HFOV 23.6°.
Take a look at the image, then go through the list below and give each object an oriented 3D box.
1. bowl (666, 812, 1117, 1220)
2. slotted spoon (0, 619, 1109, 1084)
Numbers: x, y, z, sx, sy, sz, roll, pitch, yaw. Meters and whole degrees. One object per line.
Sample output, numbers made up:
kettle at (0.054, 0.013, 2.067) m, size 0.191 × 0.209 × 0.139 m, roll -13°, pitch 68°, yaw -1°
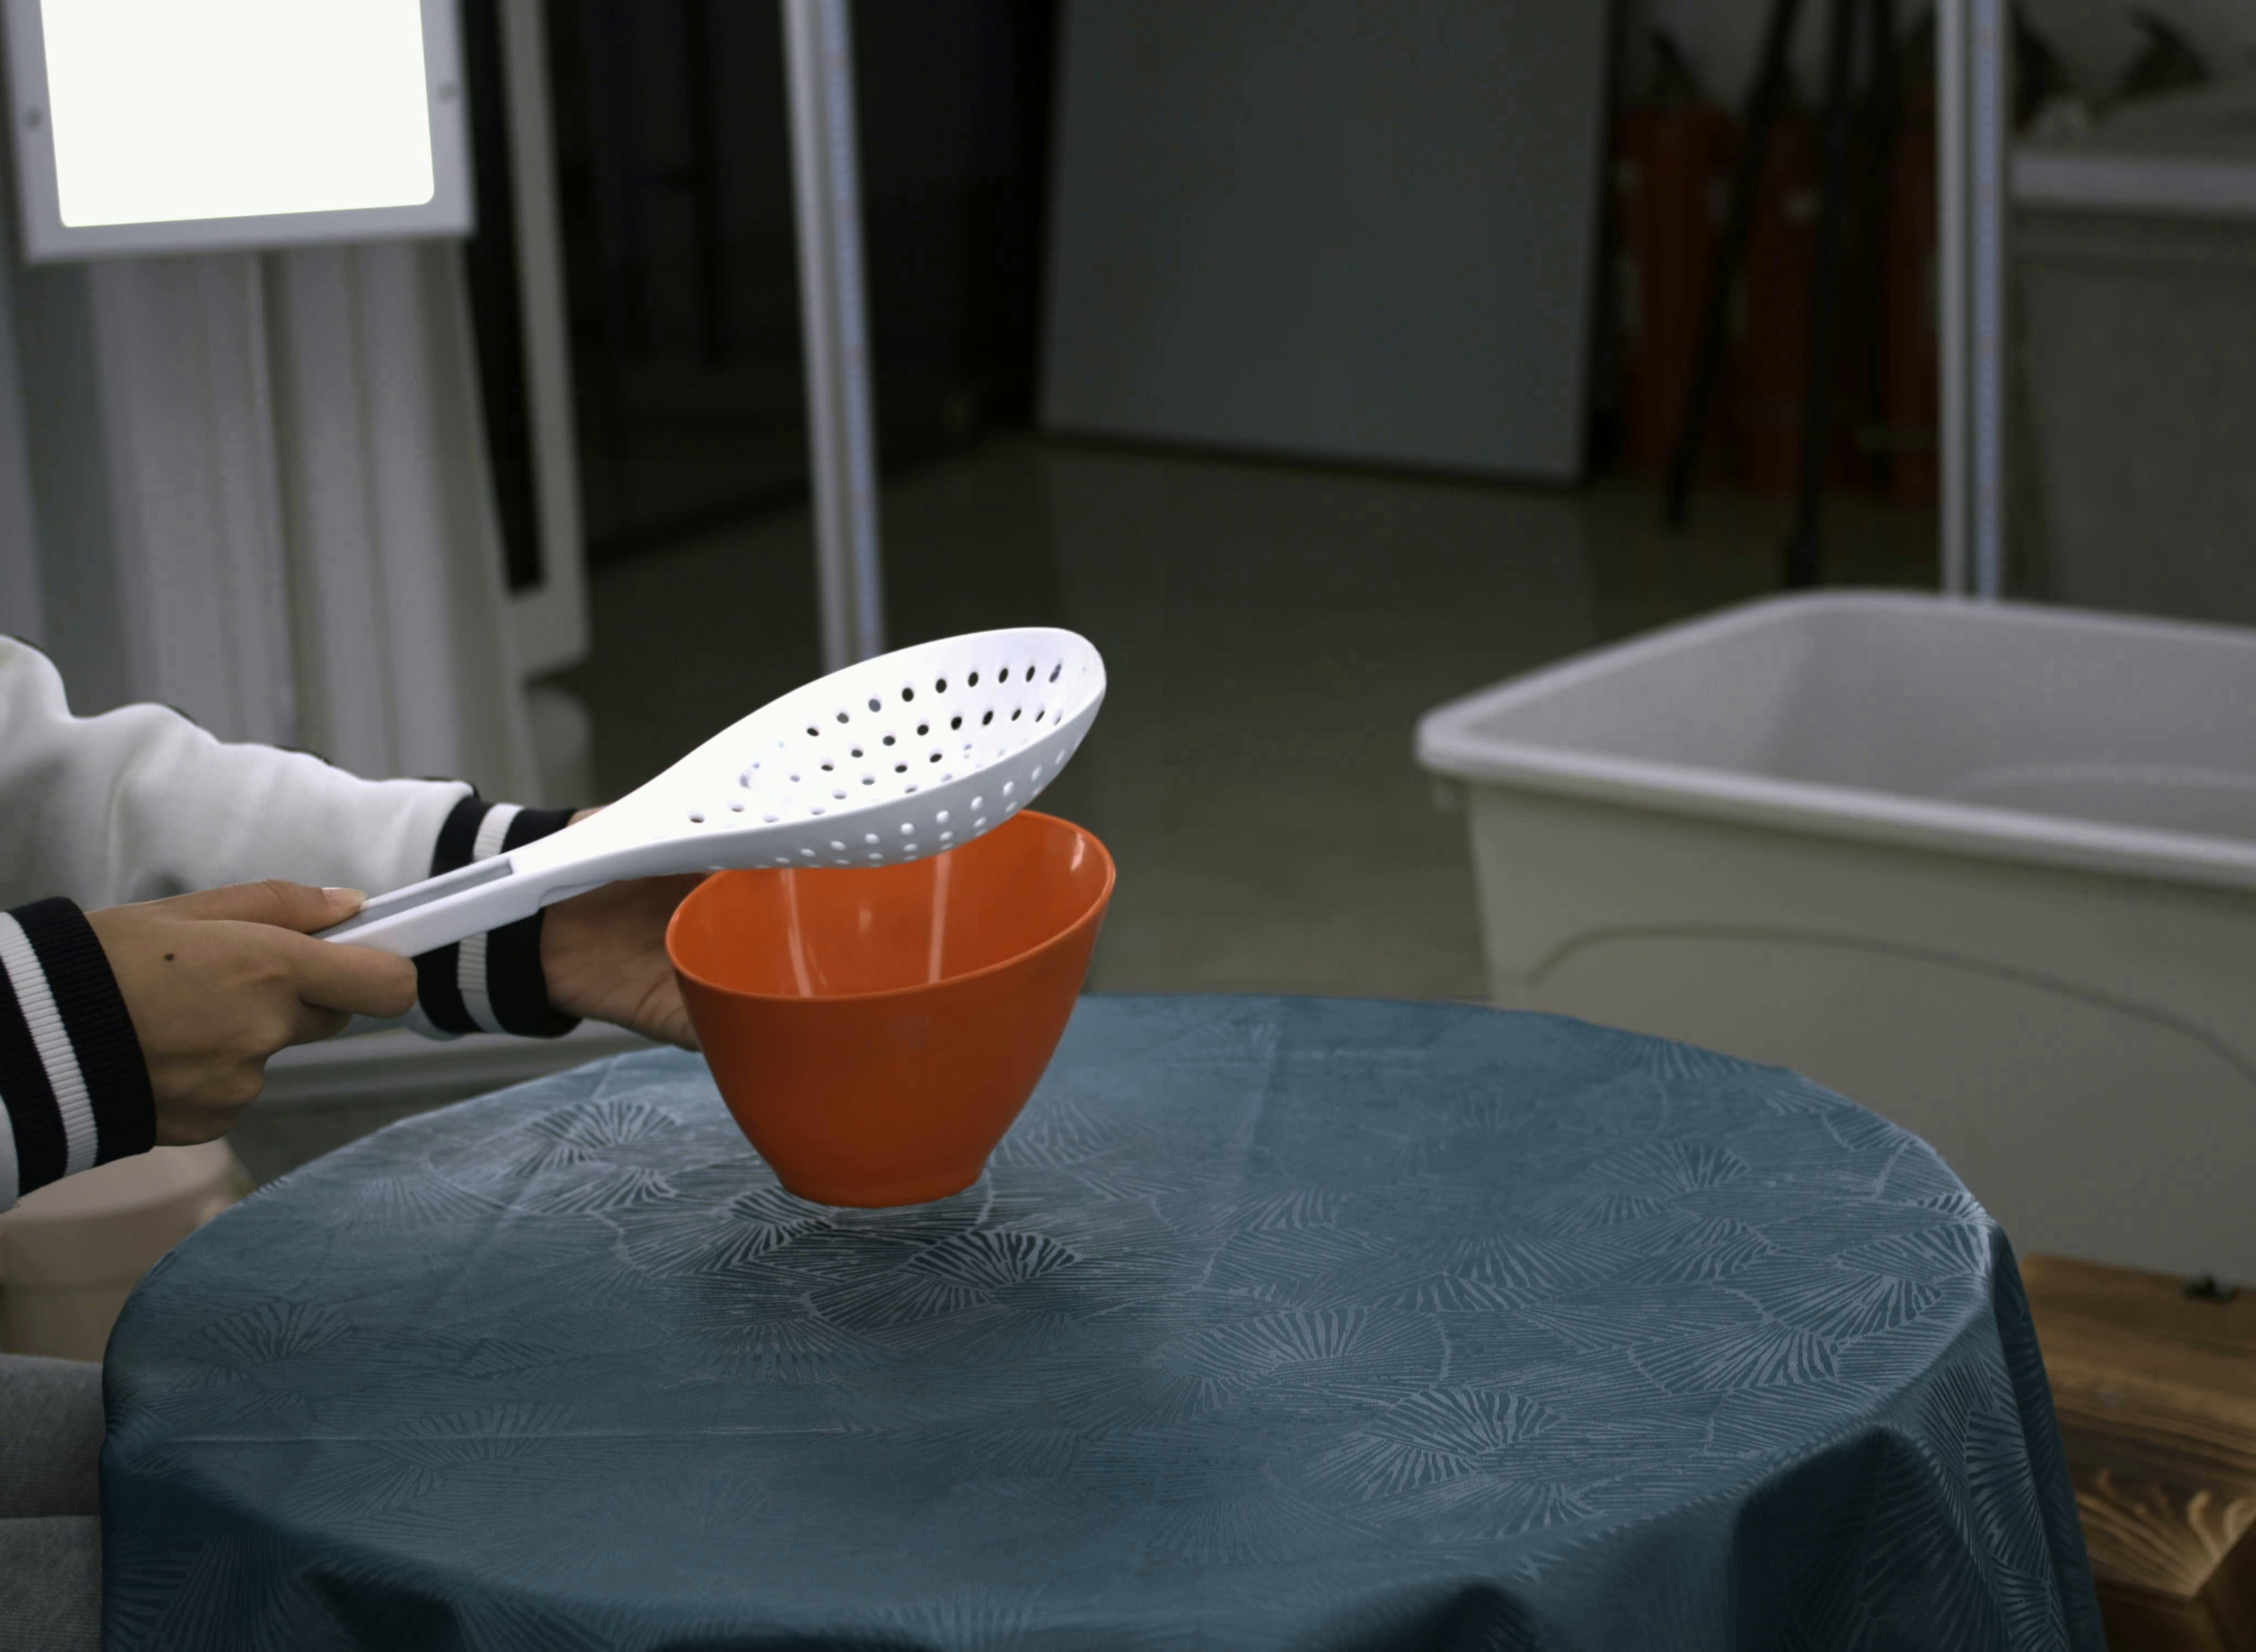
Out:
bowl at (-0.075, 0.065, 1.750) m, size 0.146 × 0.106 × 0.148 m, roll -2°, pitch 16°, yaw 0°
slotted spoon at (-0.168, 0.010, 1.613) m, size 0.345 × 0.046 × 0.137 m, roll -15°, pitch 19°, yaw -6°
